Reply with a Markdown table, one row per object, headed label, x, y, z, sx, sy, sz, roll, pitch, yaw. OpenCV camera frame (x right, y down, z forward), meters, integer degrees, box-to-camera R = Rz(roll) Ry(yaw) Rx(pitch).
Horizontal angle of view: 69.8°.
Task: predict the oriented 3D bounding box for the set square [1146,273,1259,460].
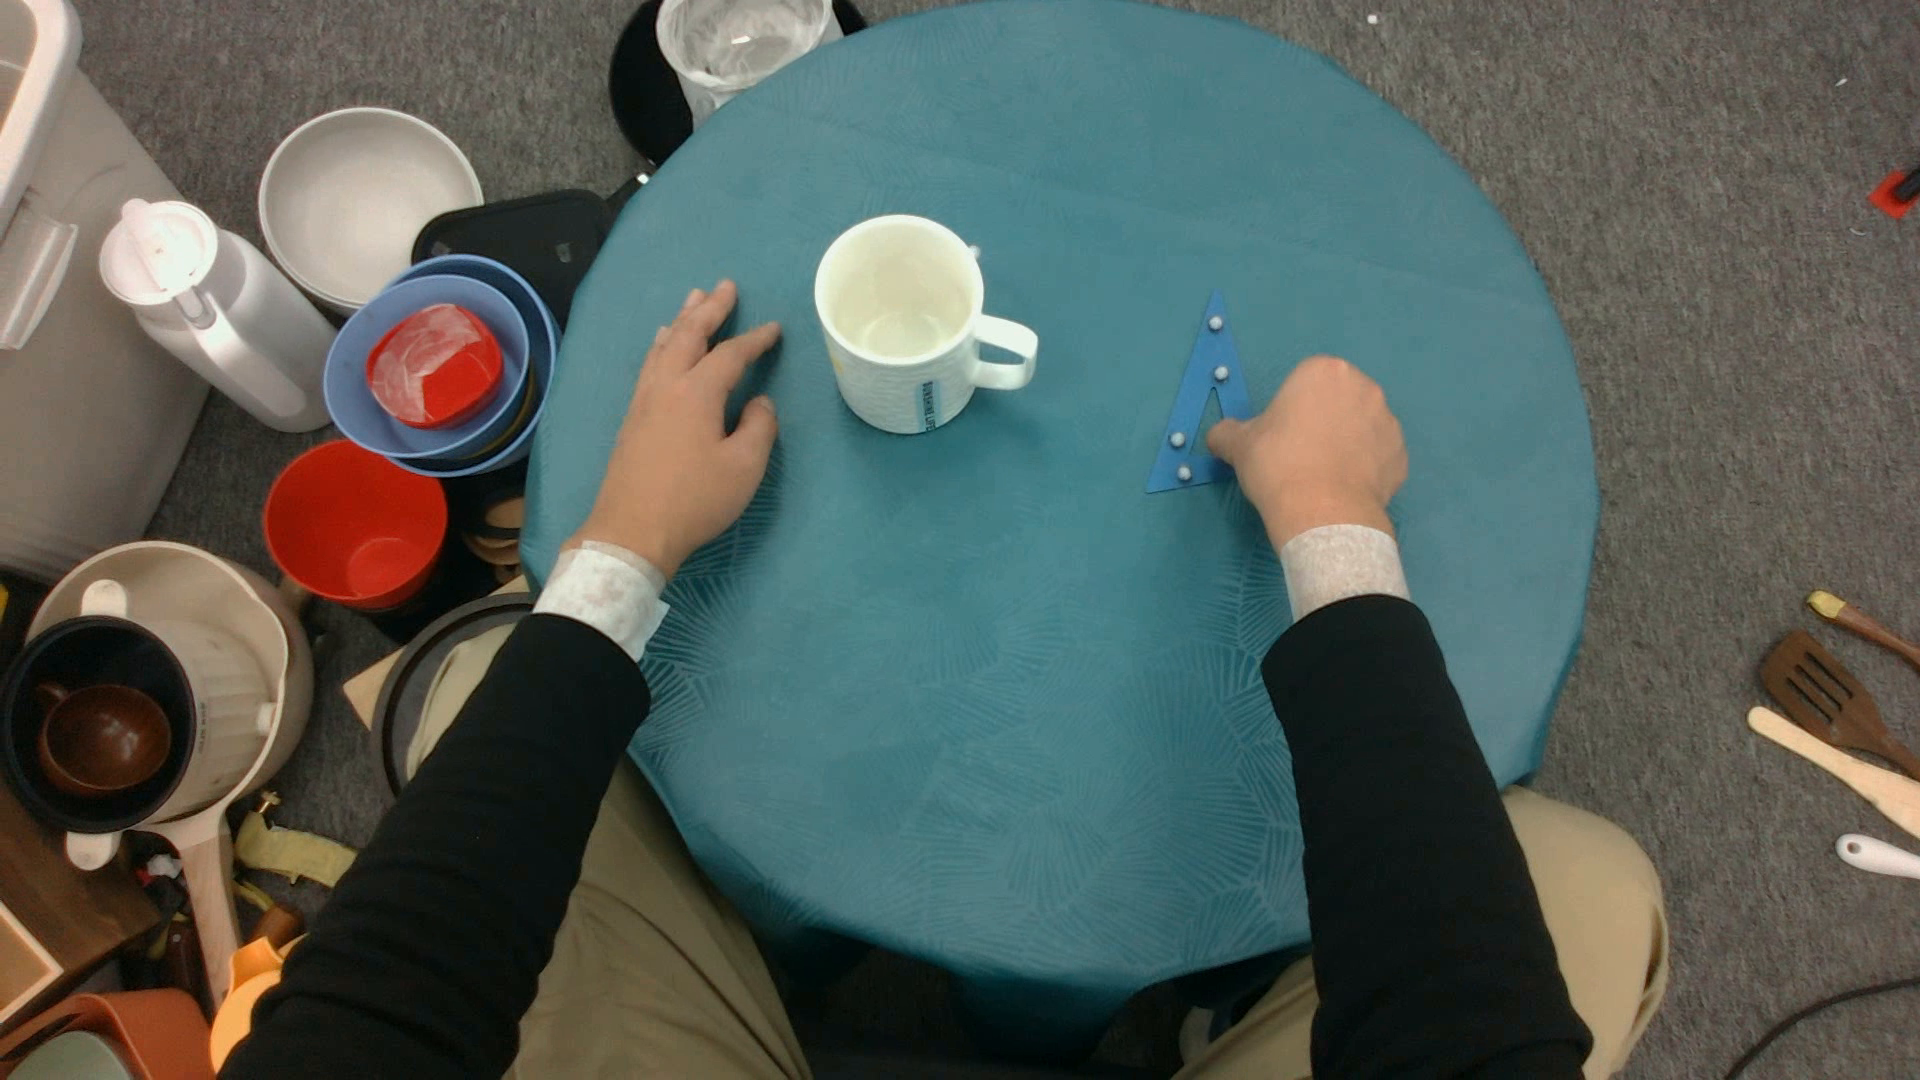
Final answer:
| label | x | y | z | sx | sy | sz | roll | pitch | yaw |
| --- | --- | --- | --- | --- | --- | --- | --- | --- | --- |
| set square | 0.157 | -0.094 | 0.794 | 0.061 | 0.006 | 0.132 | 22 | 73 | 8 |

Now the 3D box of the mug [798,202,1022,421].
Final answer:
| label | x | y | z | sx | sy | sz | roll | pitch | yaw |
| --- | --- | --- | --- | --- | --- | --- | --- | --- | --- |
| mug | -0.024 | -0.116 | 0.748 | 0.118 | 0.101 | 0.085 | 16 | 73 | 5 |
